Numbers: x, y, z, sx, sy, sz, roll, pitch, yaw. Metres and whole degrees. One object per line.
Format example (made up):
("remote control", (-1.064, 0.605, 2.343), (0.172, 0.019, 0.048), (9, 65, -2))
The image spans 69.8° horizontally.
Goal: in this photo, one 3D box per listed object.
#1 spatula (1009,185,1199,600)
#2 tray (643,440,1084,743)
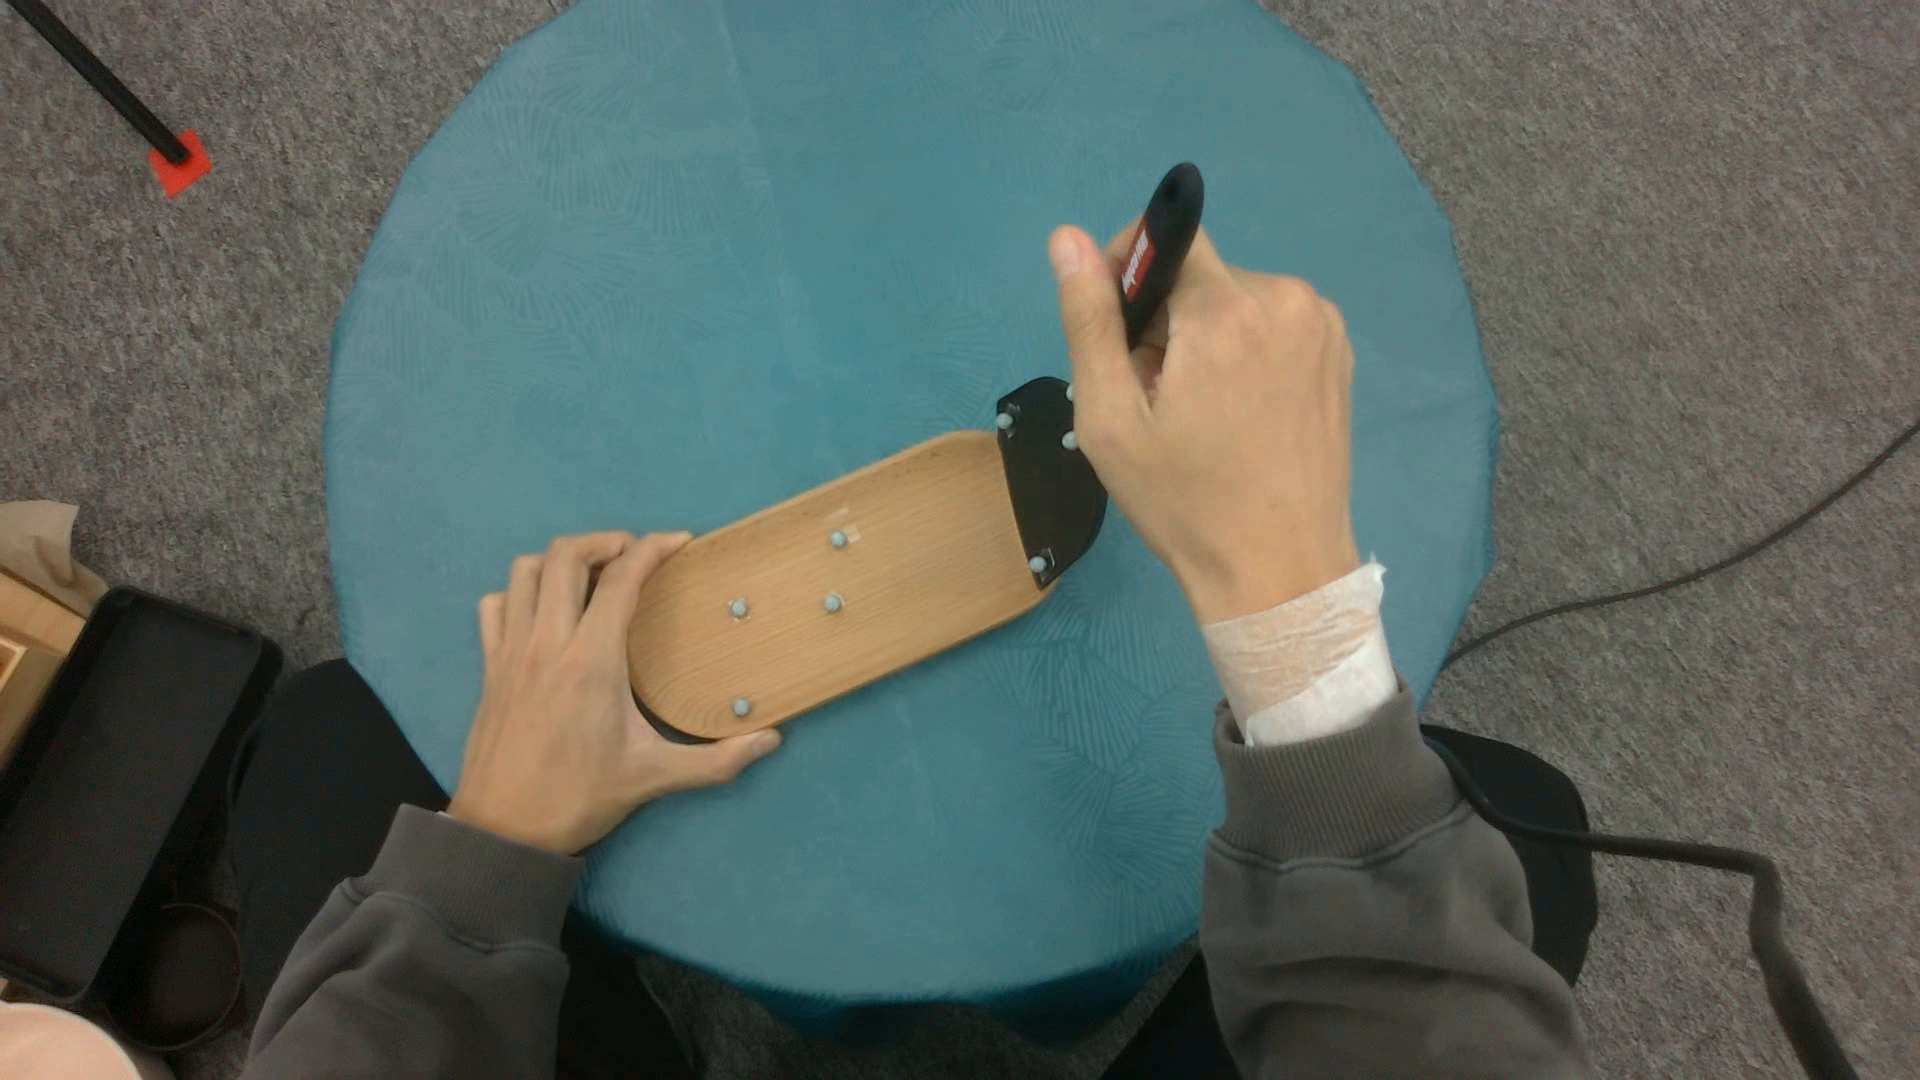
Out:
("spatula", (0.051, -0.055, 0.543), (0.040, 0.325, 0.100), (-13, 77, -3))
("tray", (-0.046, 0.025, 0.692), (0.231, 0.020, 0.102), (-23, 75, -7))
